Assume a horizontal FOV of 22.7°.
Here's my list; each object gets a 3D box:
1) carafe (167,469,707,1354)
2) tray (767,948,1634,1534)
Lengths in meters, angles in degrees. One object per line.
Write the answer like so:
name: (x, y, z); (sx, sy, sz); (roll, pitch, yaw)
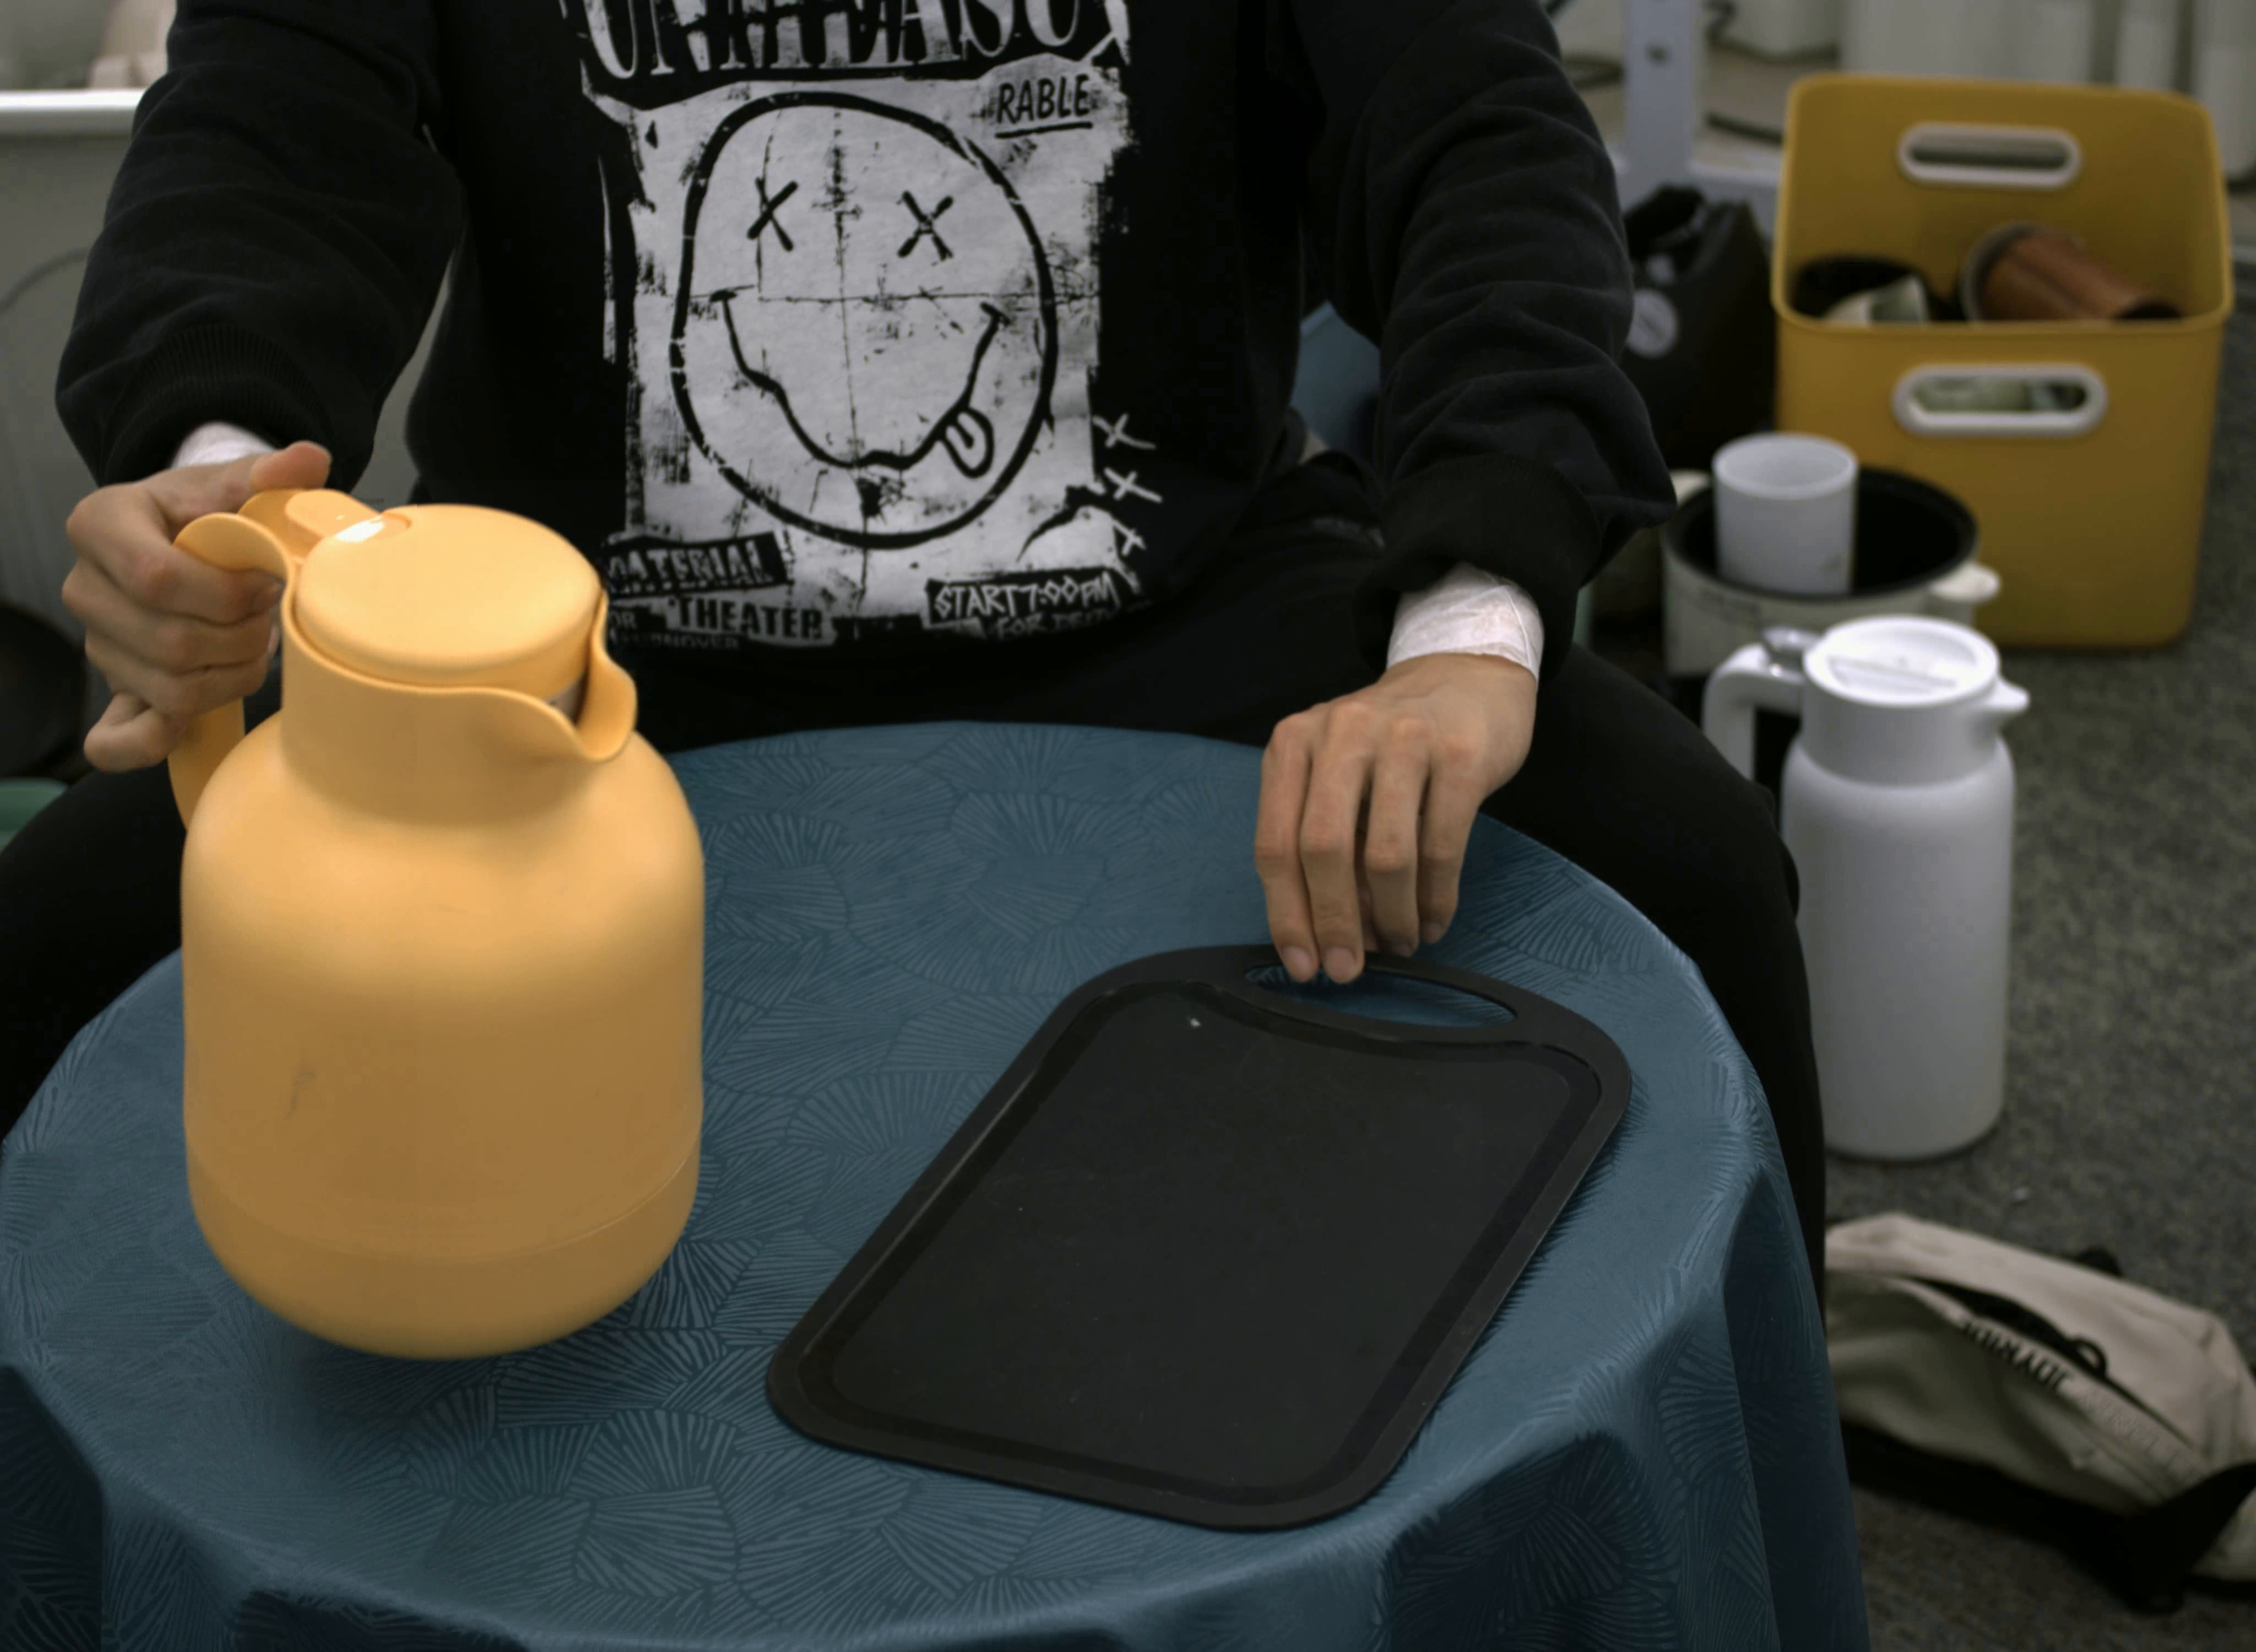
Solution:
carafe: (-0.224, 0.016, 1.746); (0.203, 0.257, 0.165); (31, 38, 33)
tray: (0.031, 0.123, 1.835); (0.210, 0.009, 0.331); (10, 32, 22)
